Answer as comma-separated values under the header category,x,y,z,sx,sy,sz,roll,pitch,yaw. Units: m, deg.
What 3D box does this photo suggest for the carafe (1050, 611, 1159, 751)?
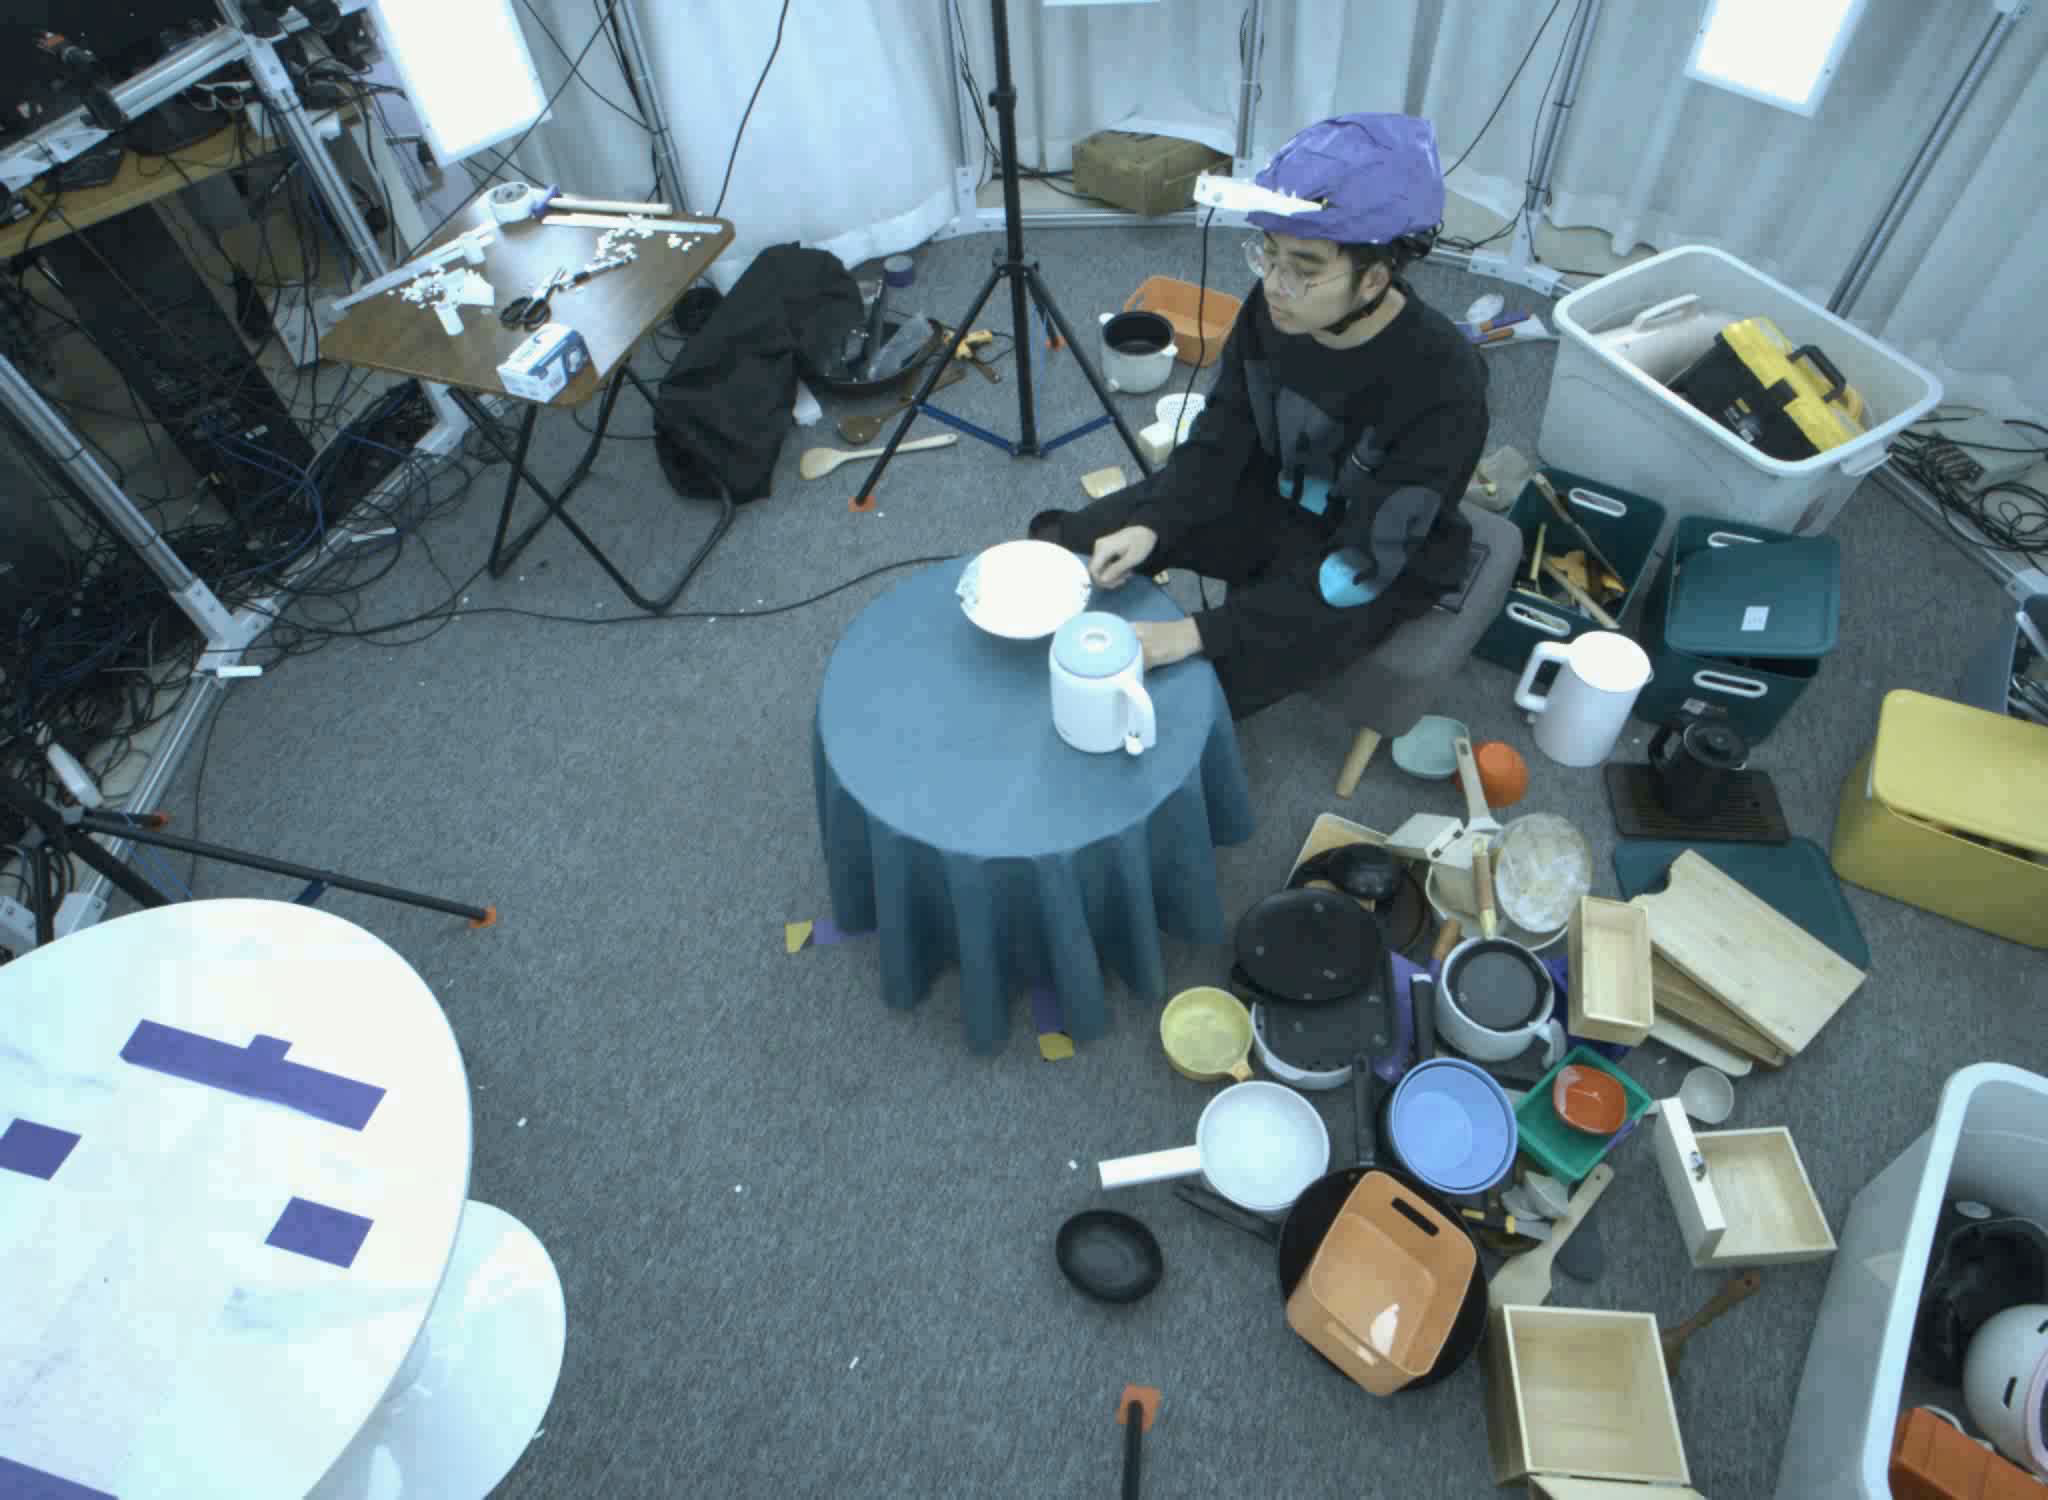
category,x,y,z,sx,sy,sz,roll,pitch,yaw
carafe,0.120,-0.082,1.732,0.133,0.184,0.188,-37,63,-19

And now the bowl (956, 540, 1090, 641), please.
category,x,y,z,sx,sy,sz,roll,pitch,yaw
bowl,-0.001,-0.226,1.898,0.204,0.078,0.202,1,54,0
